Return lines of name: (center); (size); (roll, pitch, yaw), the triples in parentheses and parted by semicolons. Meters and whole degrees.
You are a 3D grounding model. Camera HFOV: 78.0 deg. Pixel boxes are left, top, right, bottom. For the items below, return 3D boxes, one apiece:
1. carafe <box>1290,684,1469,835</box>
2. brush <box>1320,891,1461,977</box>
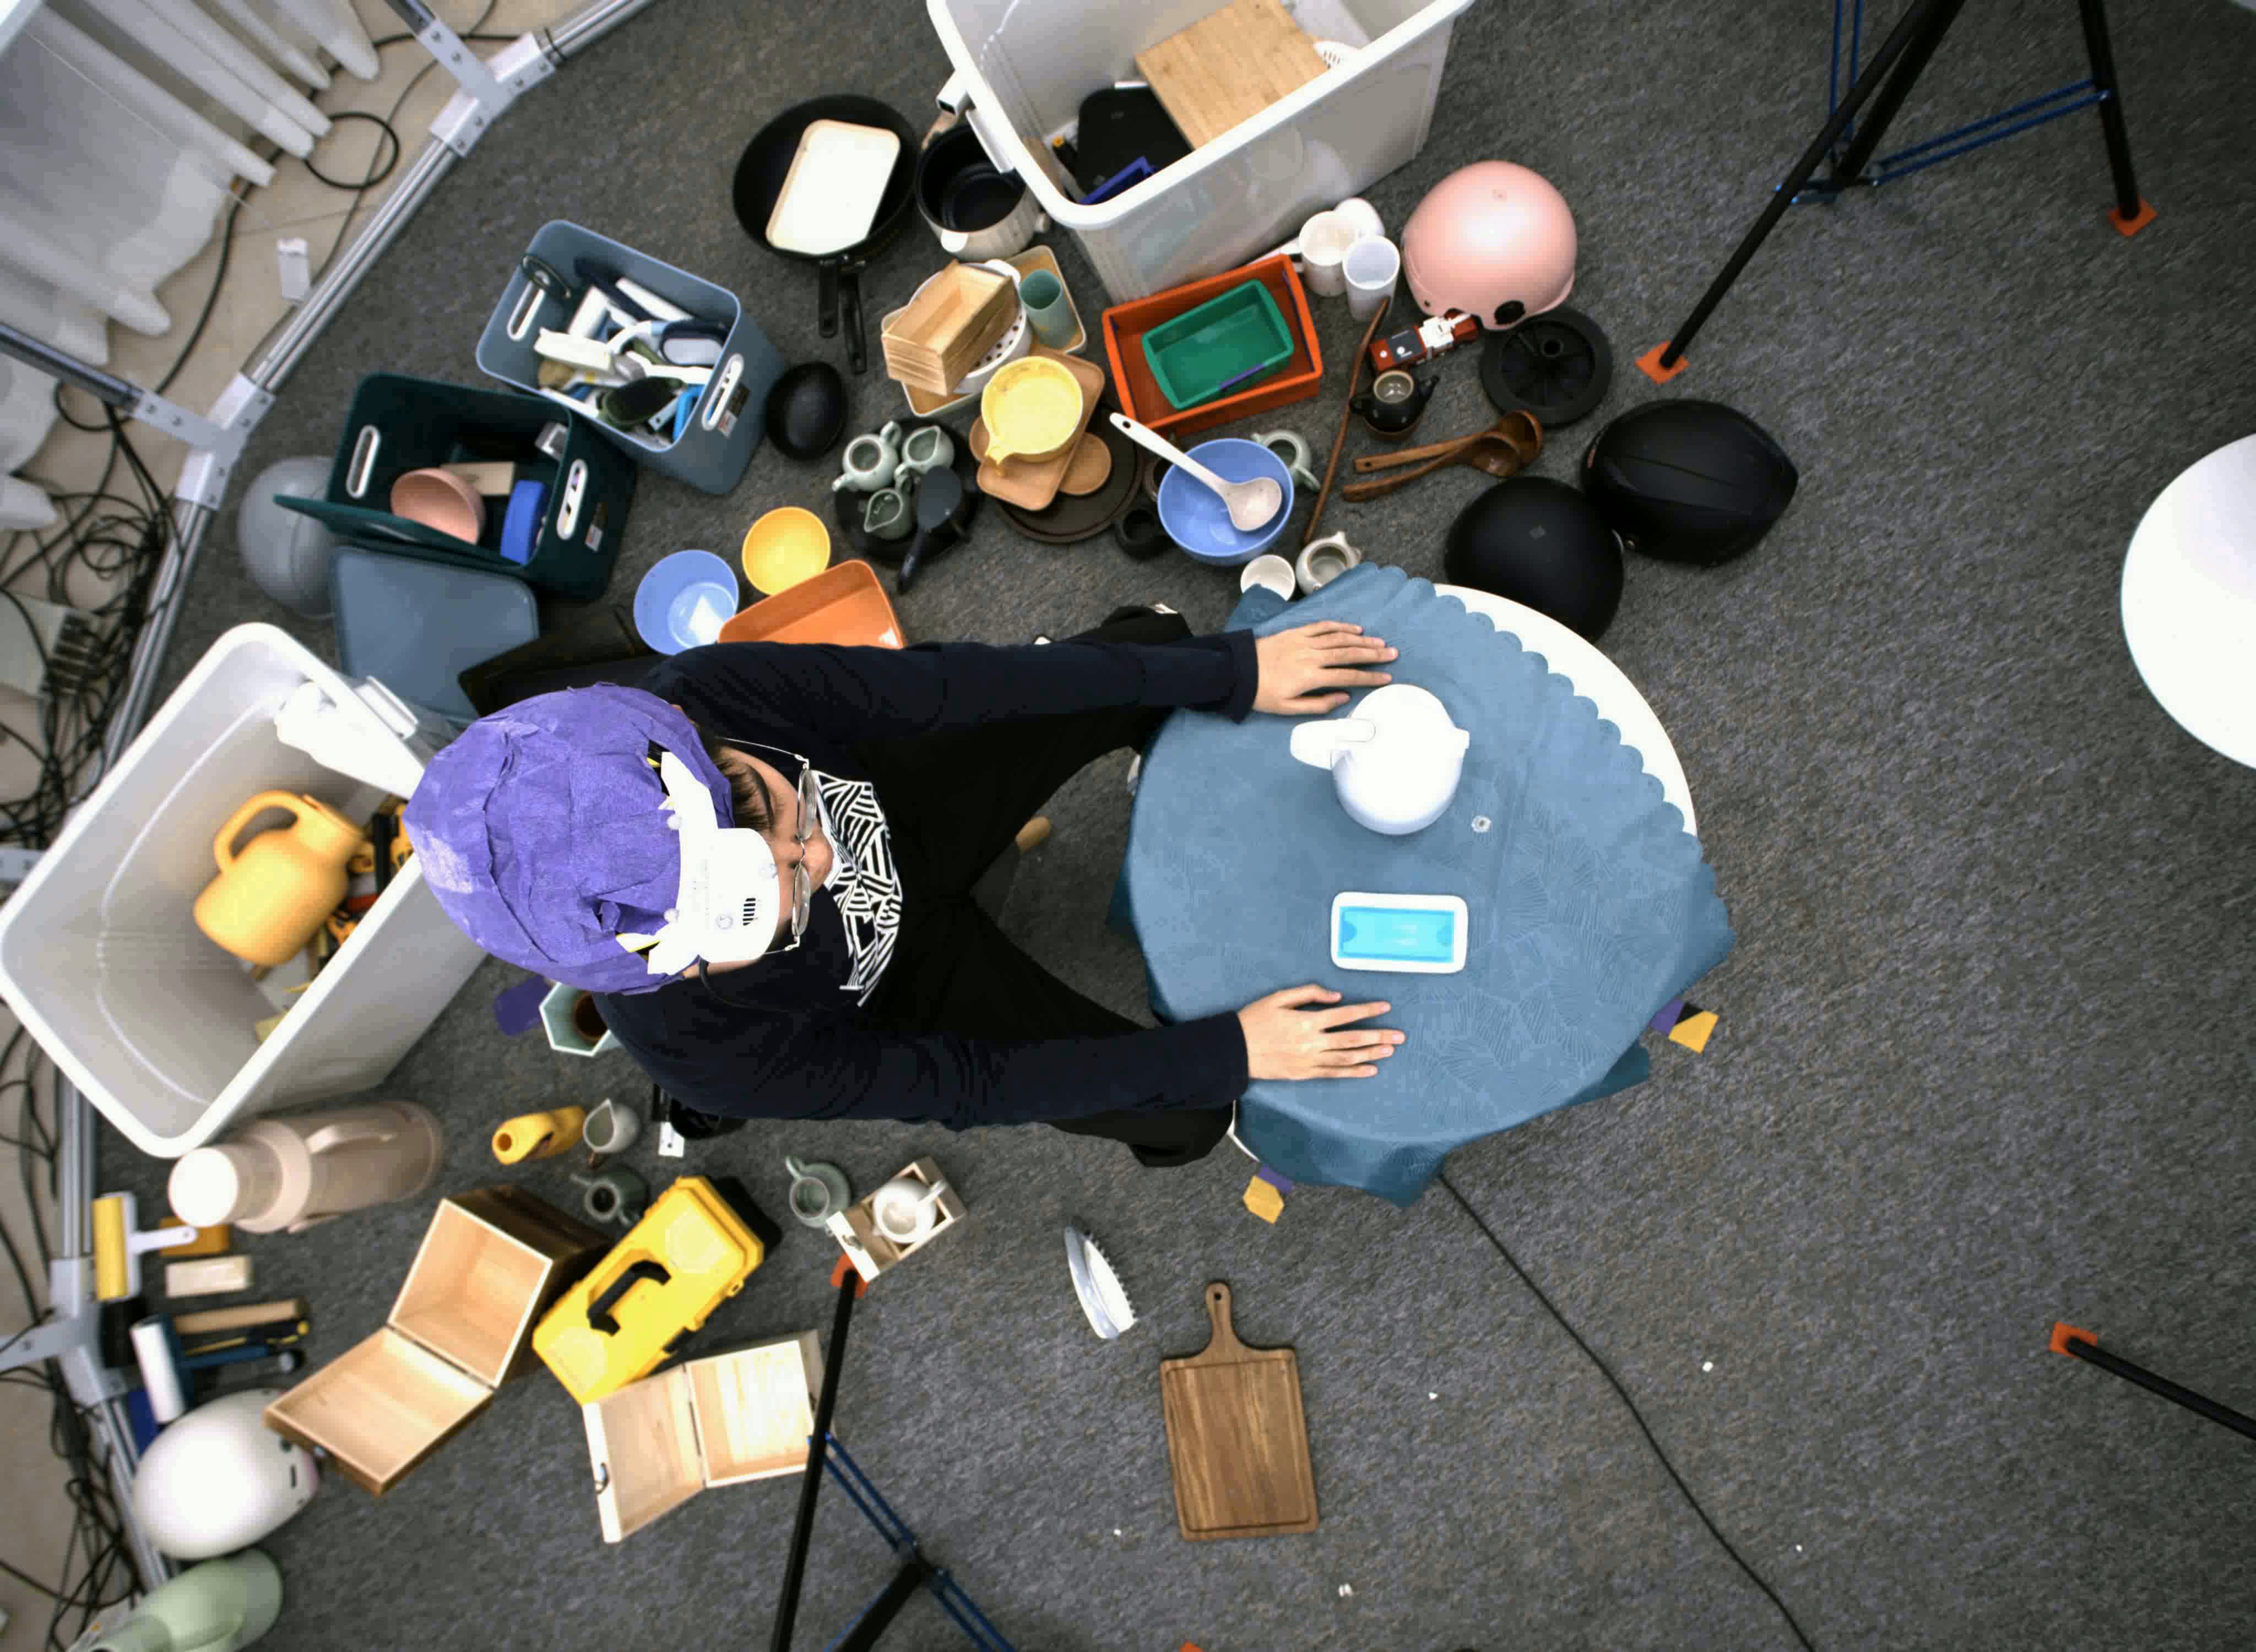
carafe: (0.244, -0.070, 1.345); (0.168, 0.249, 0.132); (3, 85, 11)
brush: (0.272, 0.109, 1.426); (0.144, 0.056, 0.083); (4, 84, 9)
